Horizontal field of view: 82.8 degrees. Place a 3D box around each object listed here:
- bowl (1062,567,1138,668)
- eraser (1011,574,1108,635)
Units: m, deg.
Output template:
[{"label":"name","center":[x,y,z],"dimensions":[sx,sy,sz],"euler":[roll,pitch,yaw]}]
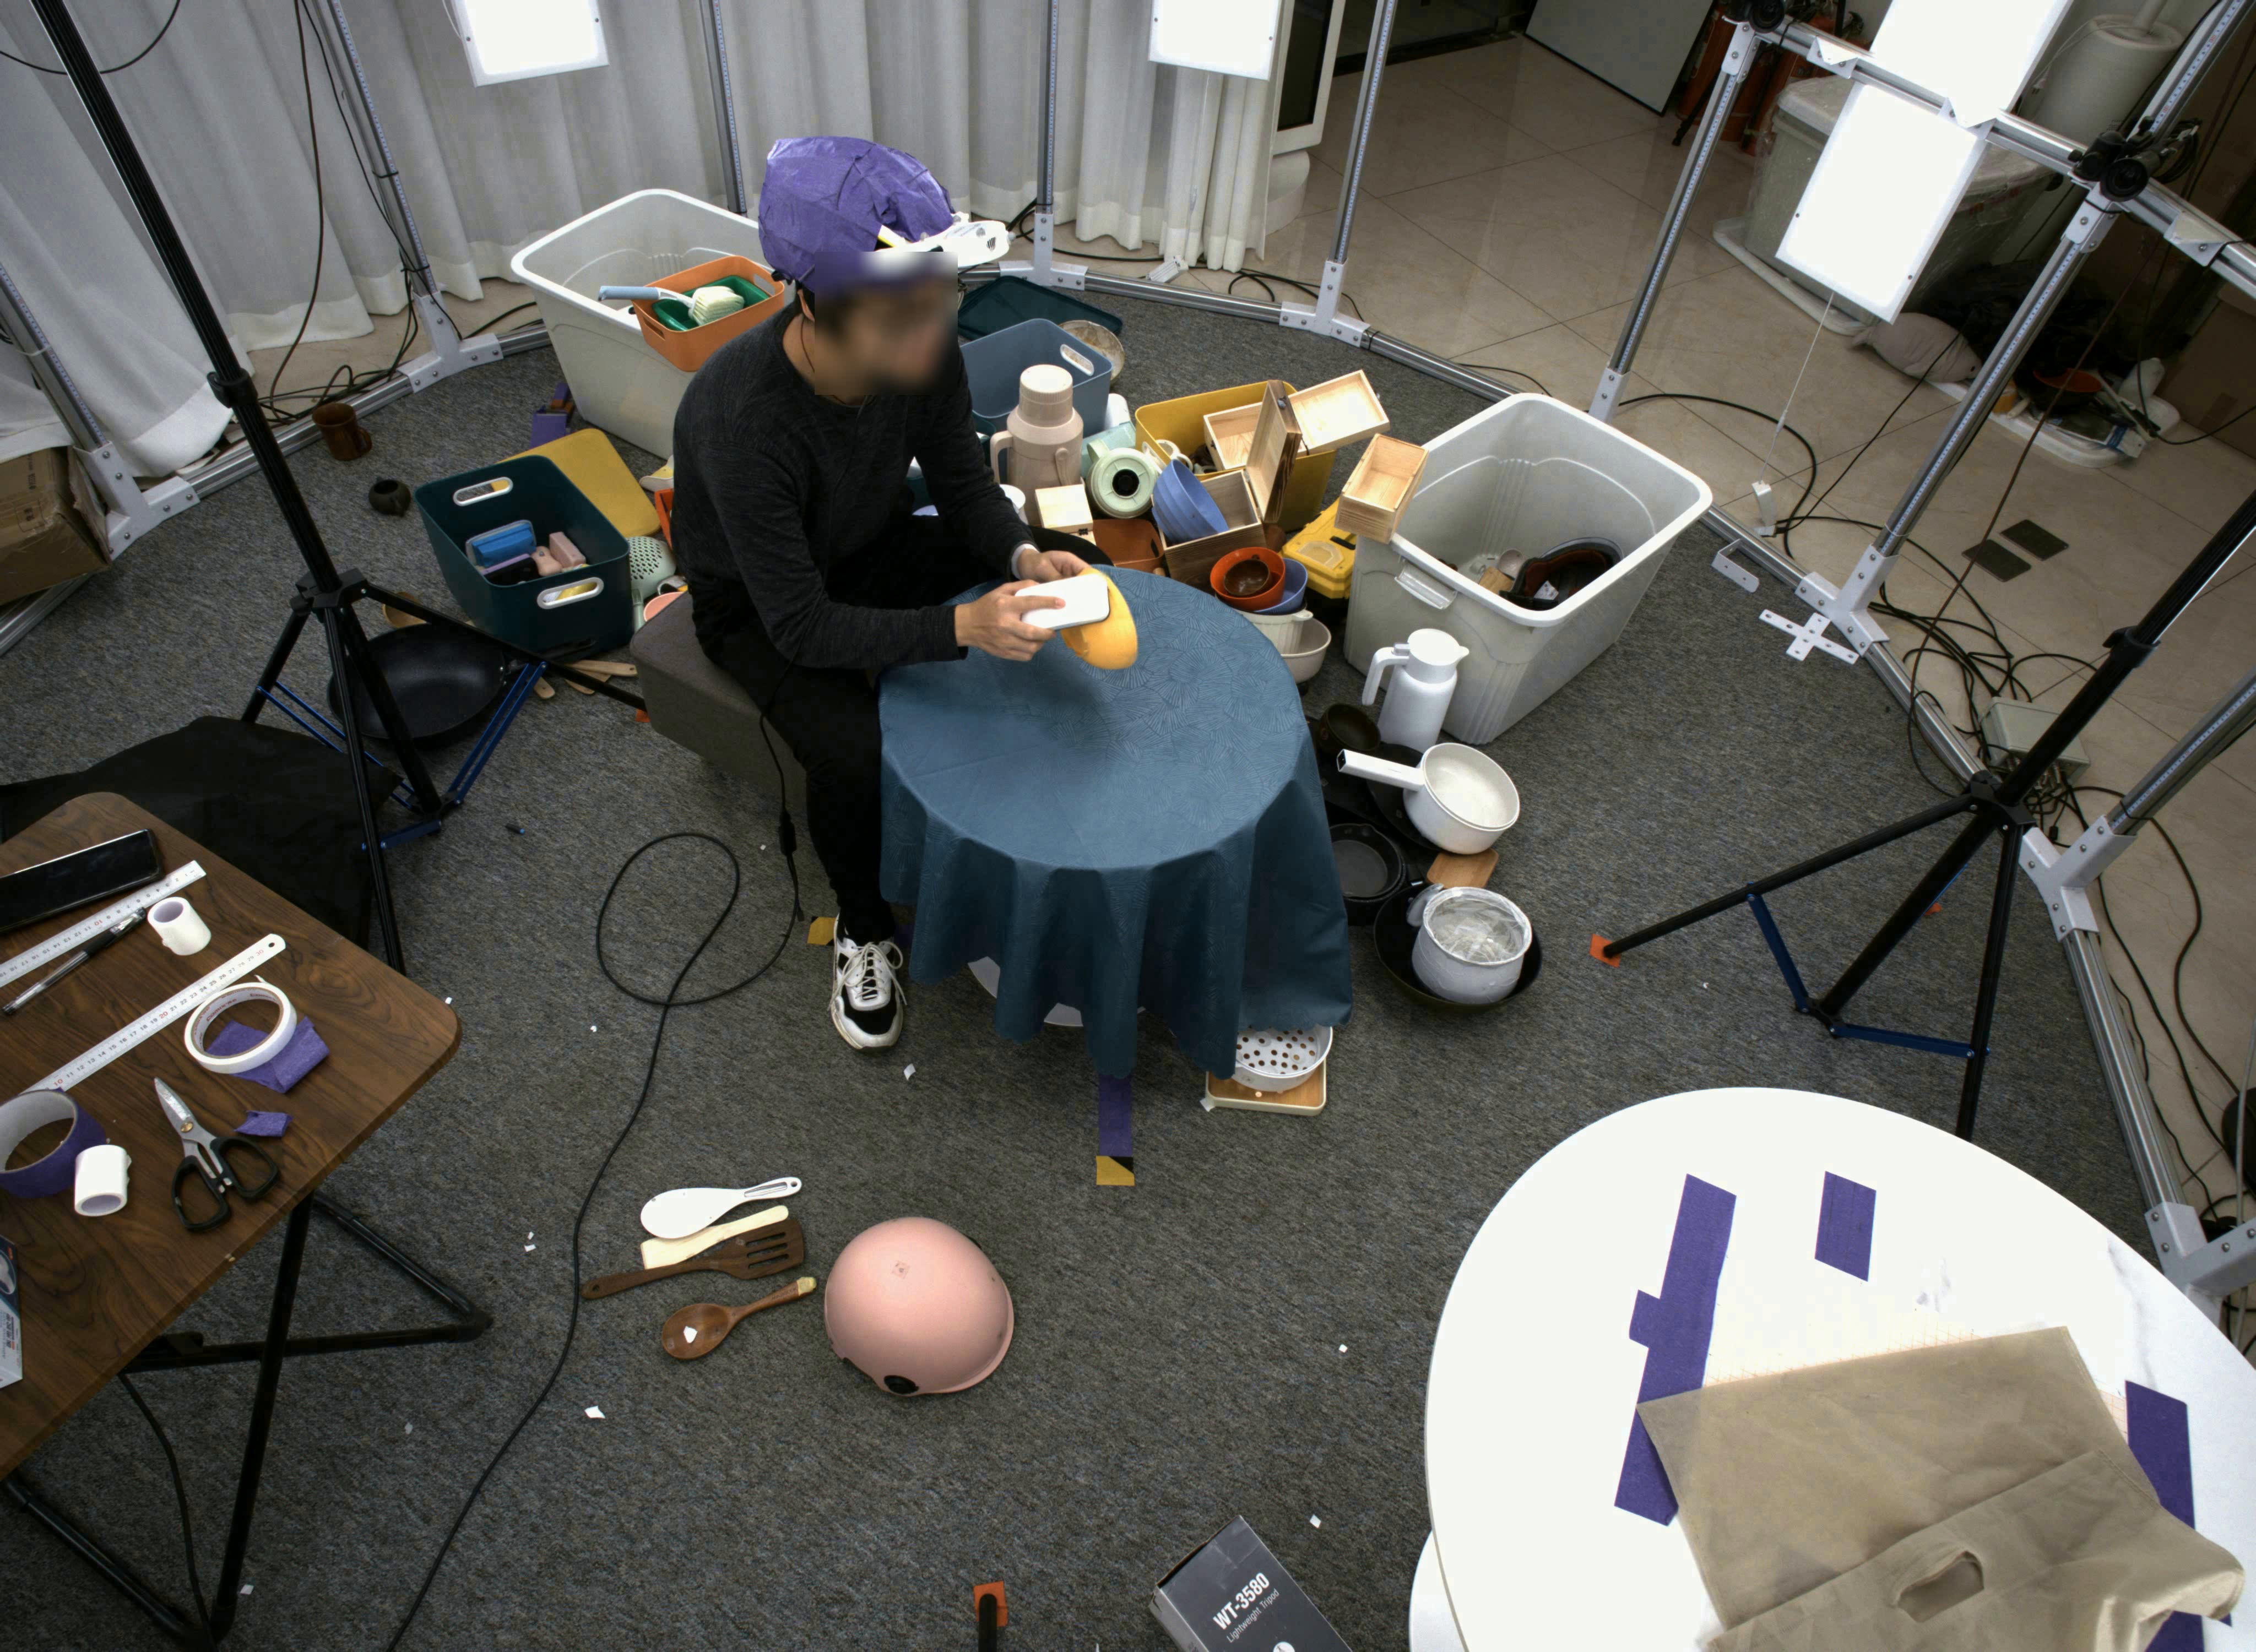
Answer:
[{"label":"bowl","center":[-0.050,-0.274,1.748],"dimensions":[0.060,0.142,0.148],"euler":[-26,56,-23]},{"label":"eraser","center":[-0.091,-0.293,1.697],"dimensions":[0.131,0.034,0.064],"euler":[-8,76,17]}]
